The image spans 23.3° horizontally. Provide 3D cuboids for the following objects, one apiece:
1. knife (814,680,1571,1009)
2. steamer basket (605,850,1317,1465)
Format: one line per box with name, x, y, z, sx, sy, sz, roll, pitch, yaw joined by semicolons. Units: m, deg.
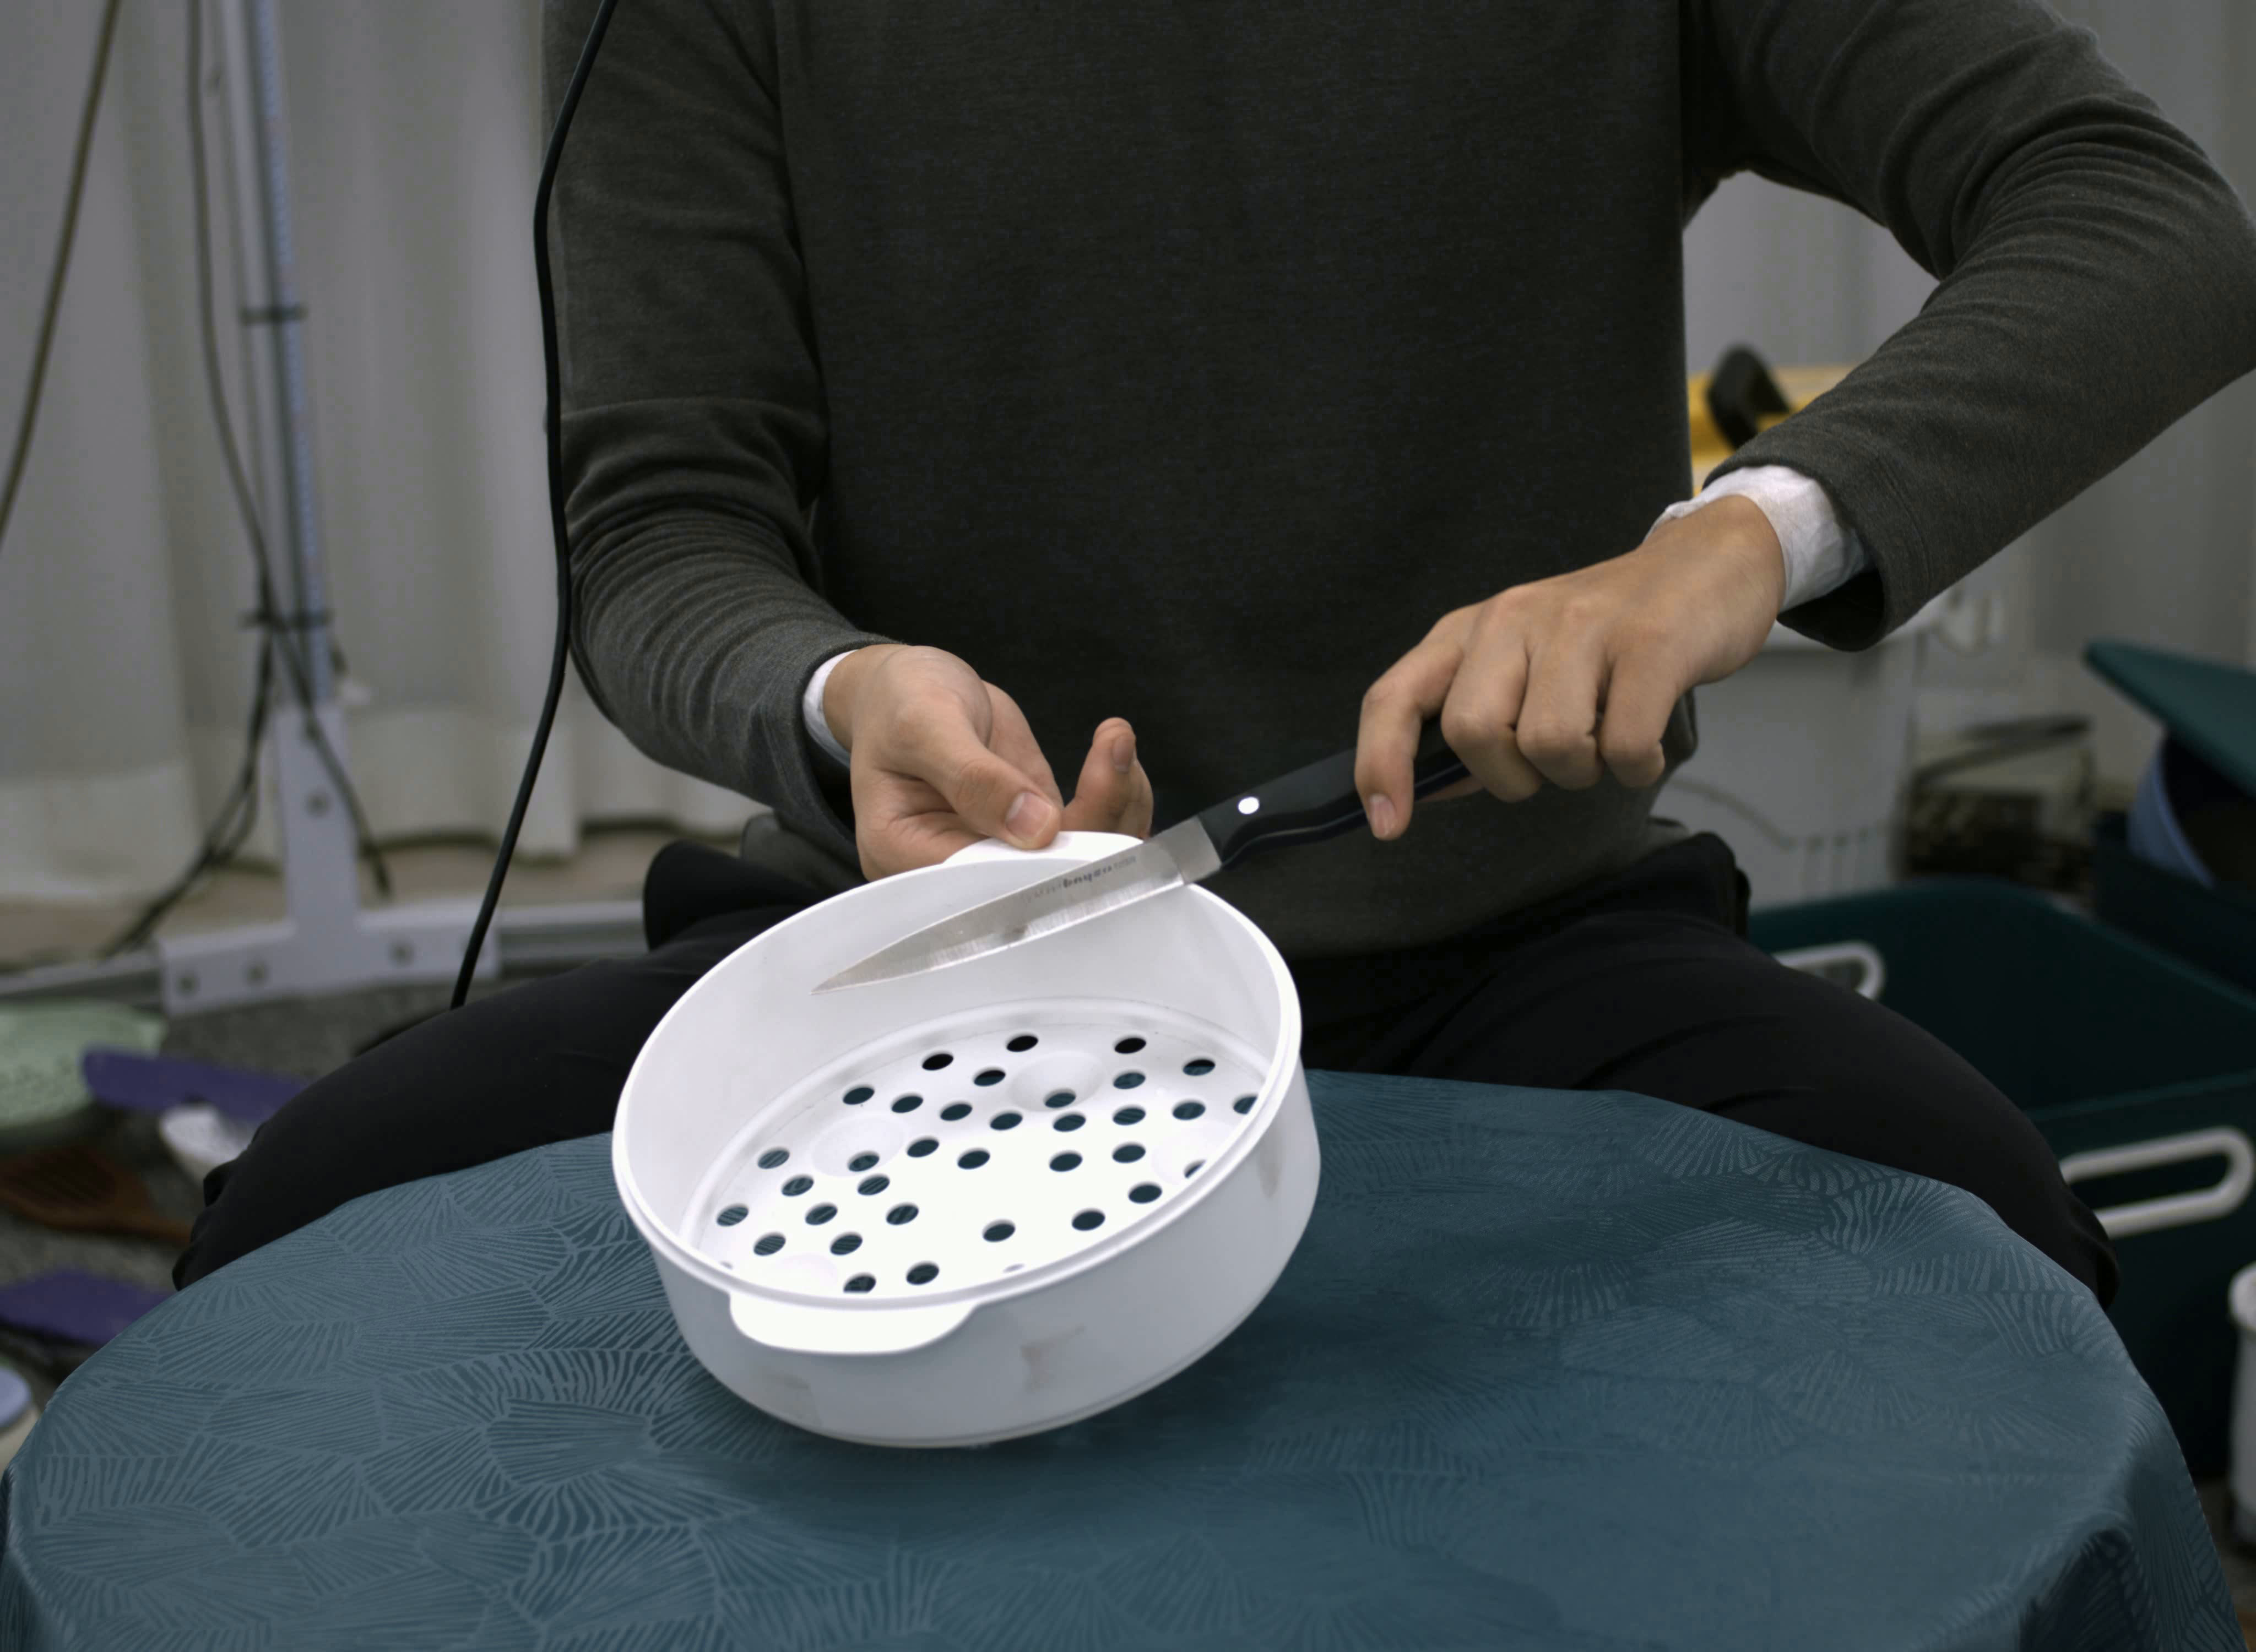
knife;0.017;0.006;1.602;0.237;0.016;0.025;-22;39;-3
steamer basket;-0.045;0.097;1.562;0.202;0.068;0.233;0;36;20
